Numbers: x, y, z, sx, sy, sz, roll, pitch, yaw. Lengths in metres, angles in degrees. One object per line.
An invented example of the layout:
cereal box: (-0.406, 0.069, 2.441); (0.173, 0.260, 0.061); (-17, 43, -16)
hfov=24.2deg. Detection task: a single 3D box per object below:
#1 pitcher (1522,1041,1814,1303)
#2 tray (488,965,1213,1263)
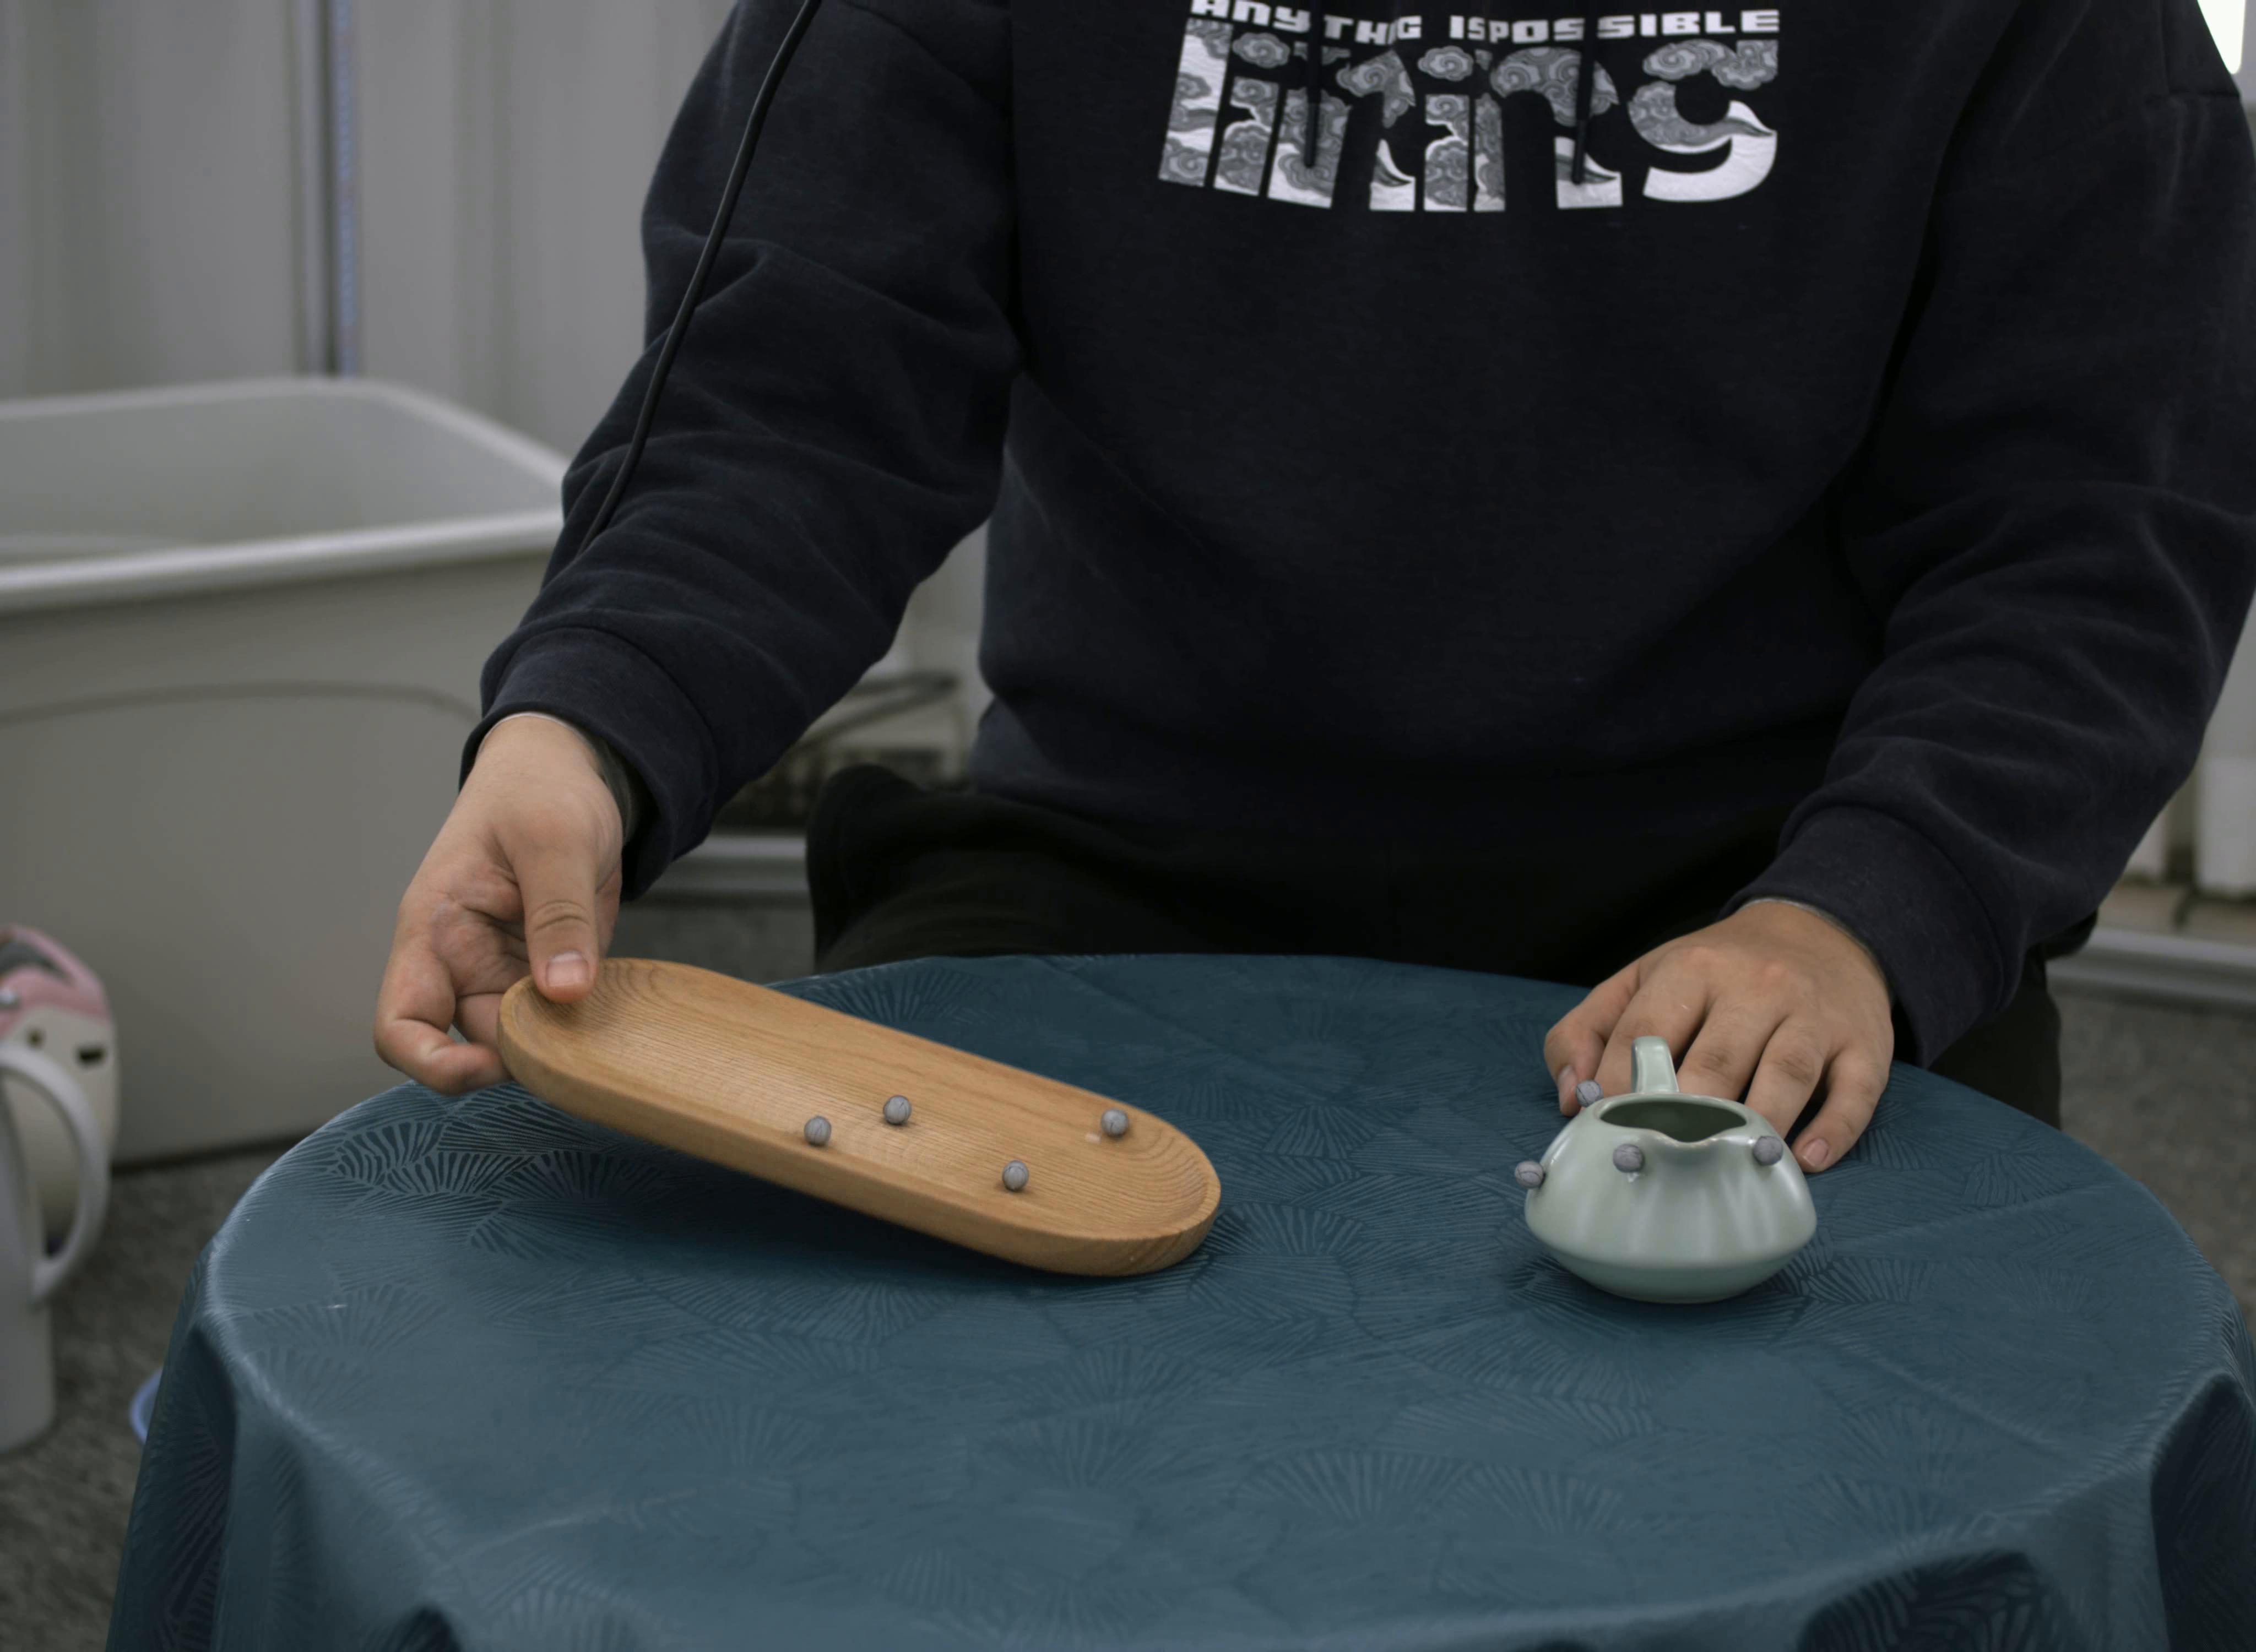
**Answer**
pitcher: (0.159, 0.103, 1.563); (0.086, 0.061, 0.107); (1, 13, -4)
tray: (-0.085, 0.086, 1.598); (0.229, 0.020, 0.102); (16, 17, 12)
